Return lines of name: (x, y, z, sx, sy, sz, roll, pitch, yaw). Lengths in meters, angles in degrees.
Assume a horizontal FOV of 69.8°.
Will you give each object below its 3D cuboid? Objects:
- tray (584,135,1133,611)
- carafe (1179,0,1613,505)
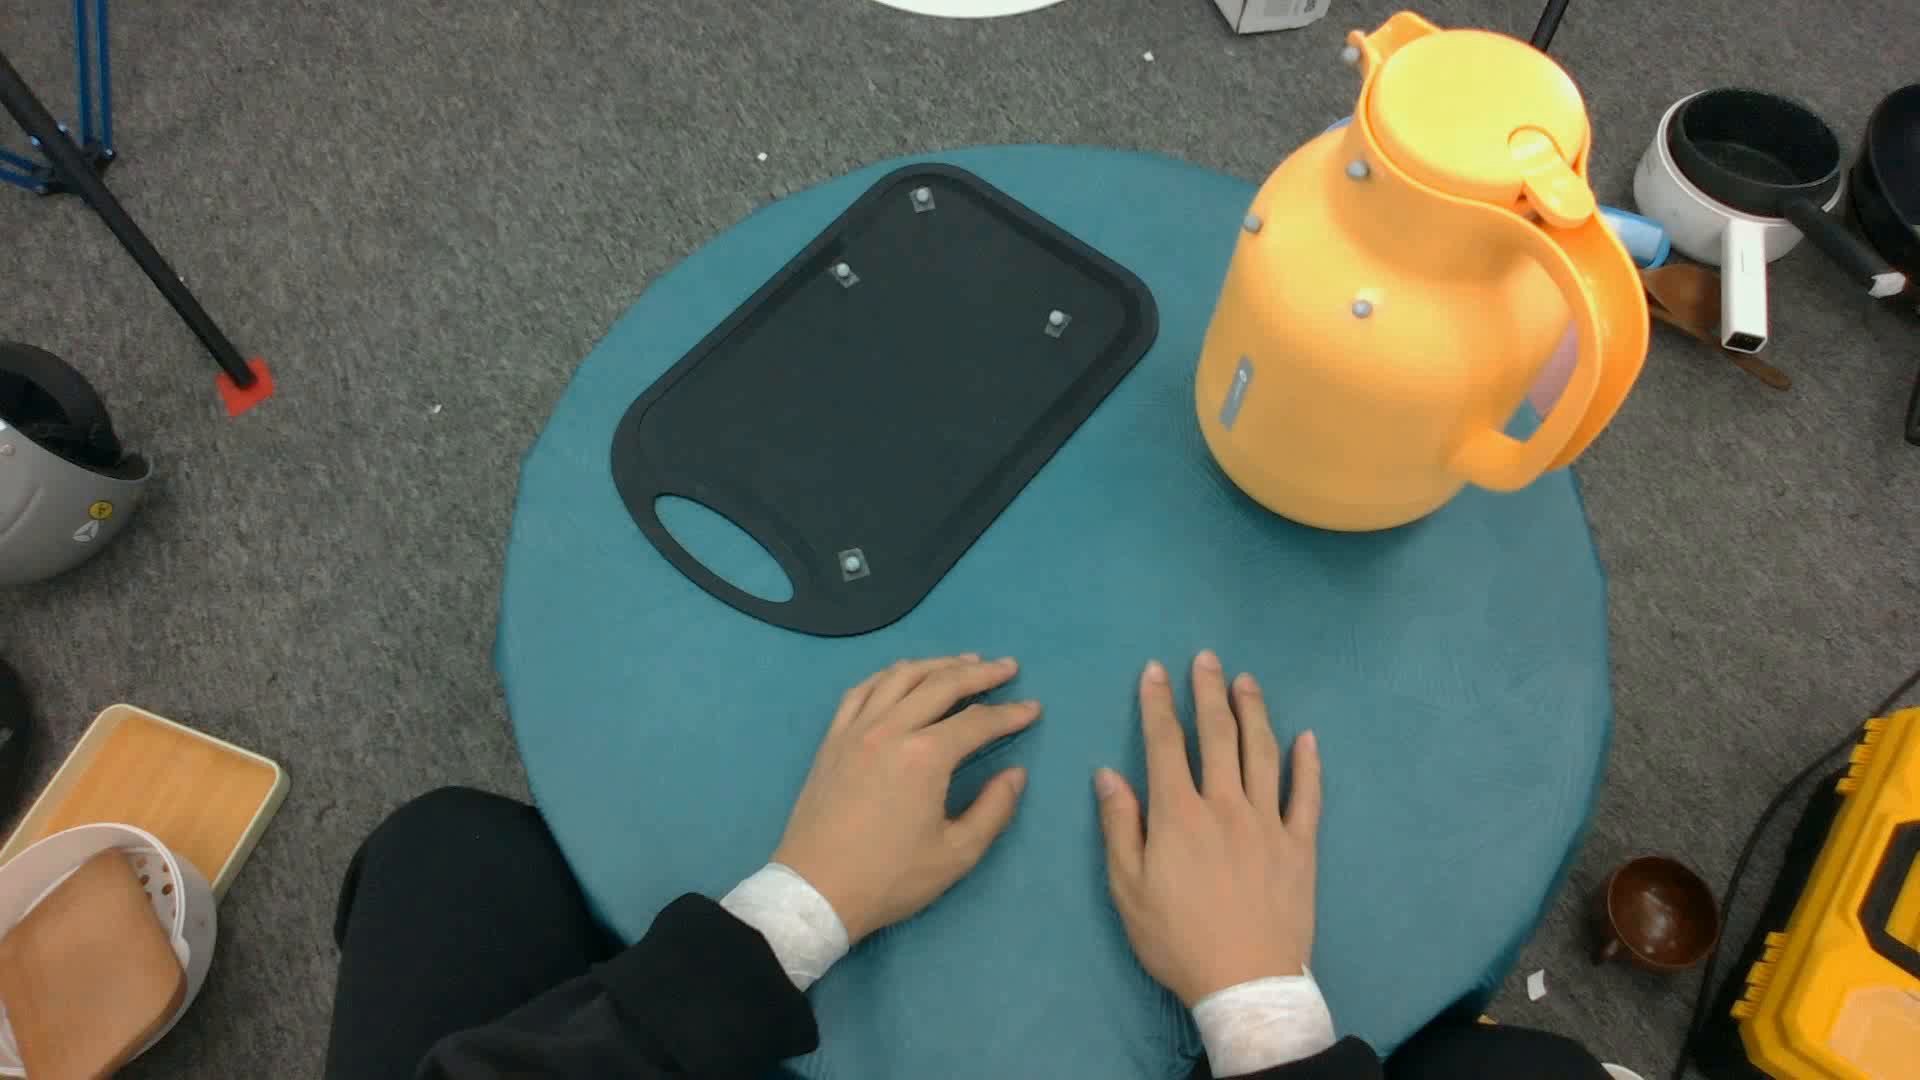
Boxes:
tray: (-0.058, -0.105, 0.798, 0.211, 0.010, 0.326, 36, 67, 15)
carafe: (0.212, -0.122, 0.676, 0.164, 0.259, 0.203, -24, 65, -11)
